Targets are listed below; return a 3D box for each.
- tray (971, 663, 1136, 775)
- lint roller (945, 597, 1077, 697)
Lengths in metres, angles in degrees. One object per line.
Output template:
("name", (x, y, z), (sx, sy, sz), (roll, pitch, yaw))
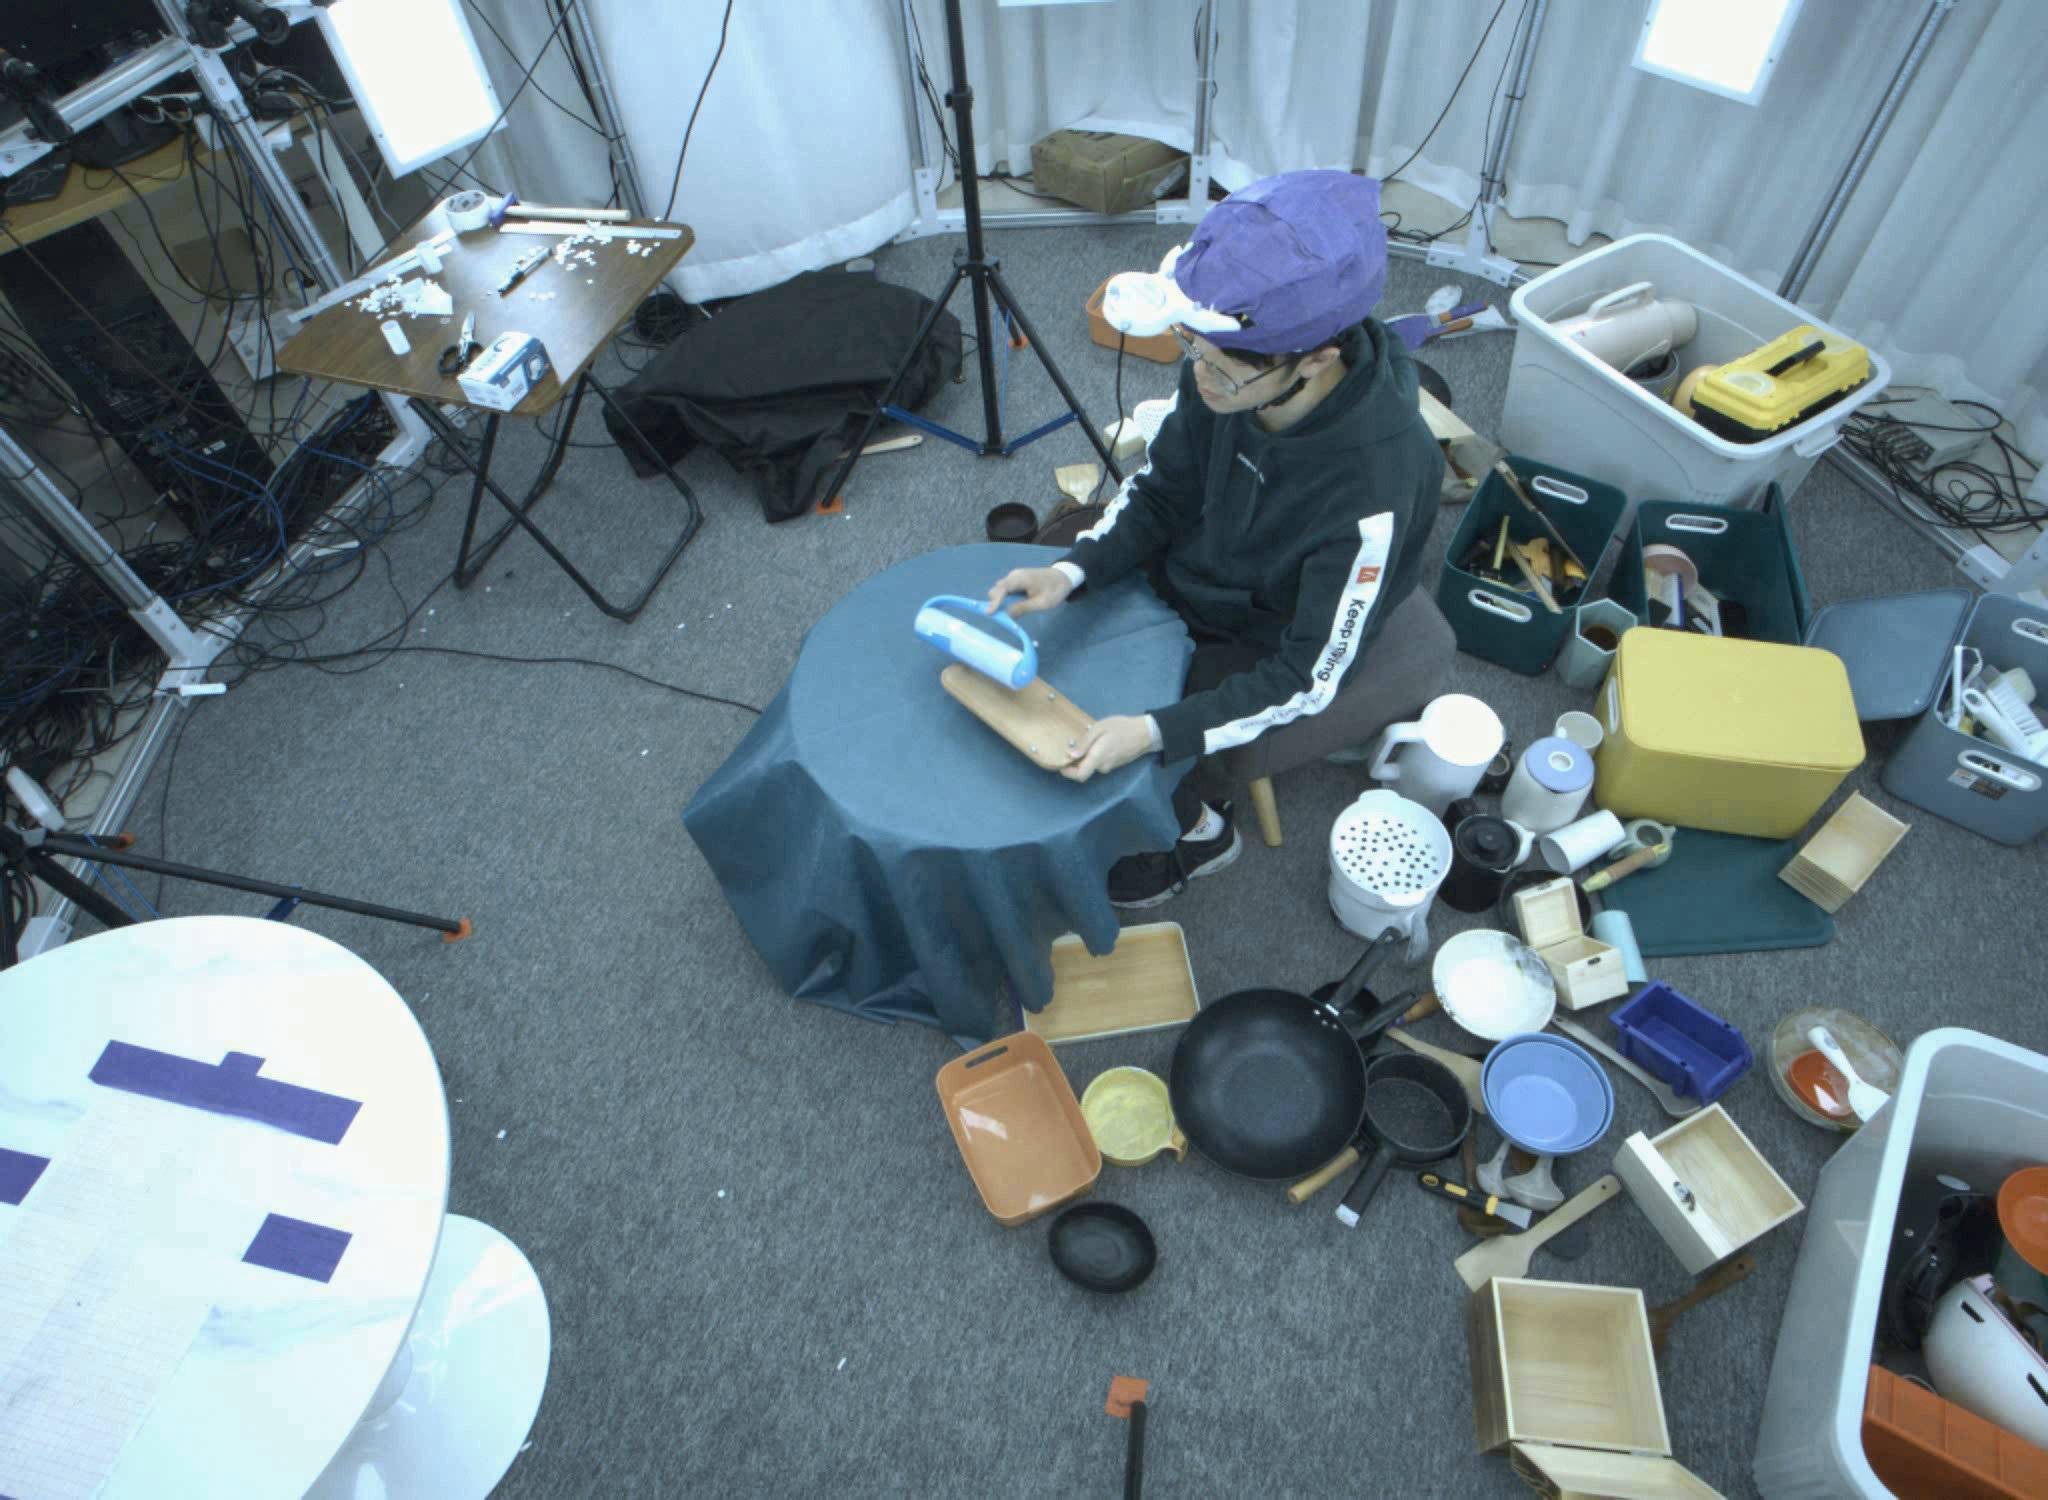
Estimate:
("tray", (0.039, -0.056, 1.767), (0.132, 0.023, 0.246), (-26, 55, -37))
("lint roller", (0.009, -0.182, 1.805), (0.224, 0.069, 0.181), (29, 63, 30))
